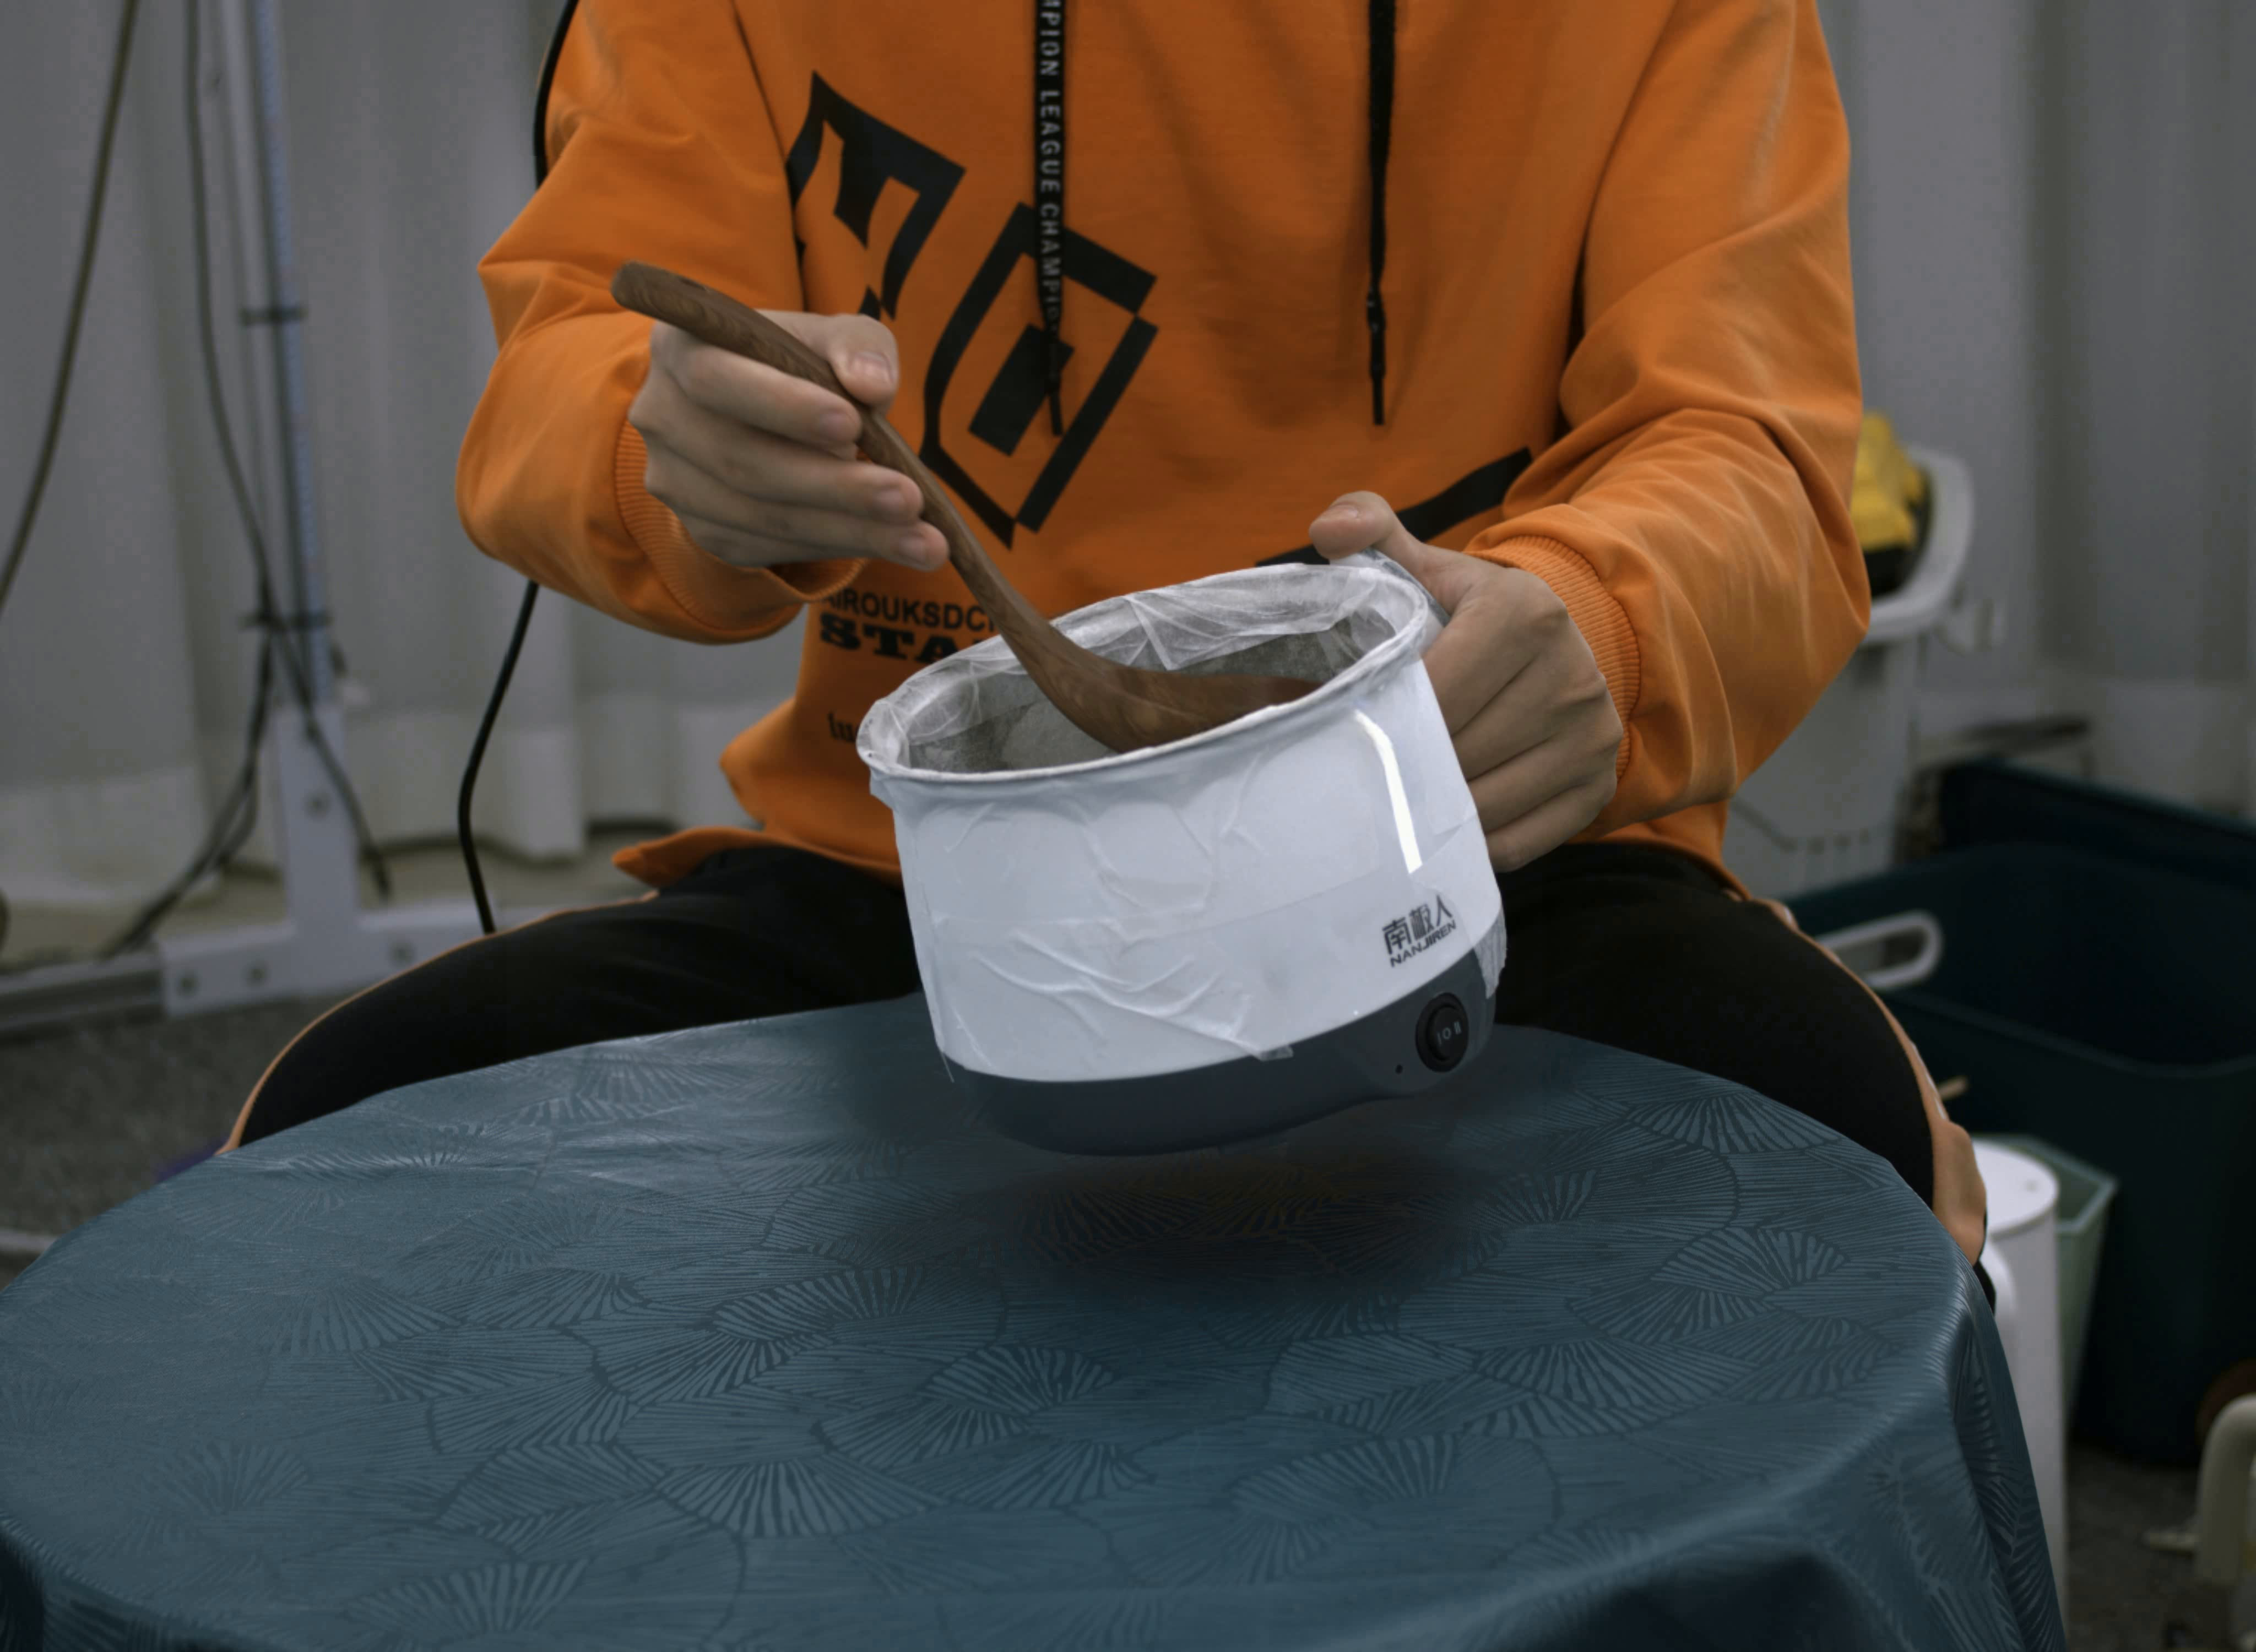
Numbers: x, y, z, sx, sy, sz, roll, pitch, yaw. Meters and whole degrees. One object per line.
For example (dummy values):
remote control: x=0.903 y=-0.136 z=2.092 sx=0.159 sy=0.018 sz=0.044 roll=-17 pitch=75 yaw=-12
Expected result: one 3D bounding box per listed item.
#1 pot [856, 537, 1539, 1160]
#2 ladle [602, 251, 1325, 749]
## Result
pot: x=0.037 y=0.001 z=1.670 sx=0.179 sy=0.136 sz=0.234 roll=2 pitch=24 yaw=43
ladle: x=-0.047 y=-0.103 z=1.667 sx=0.260 sy=0.065 sz=0.076 roll=43 pitch=8 yaw=2
